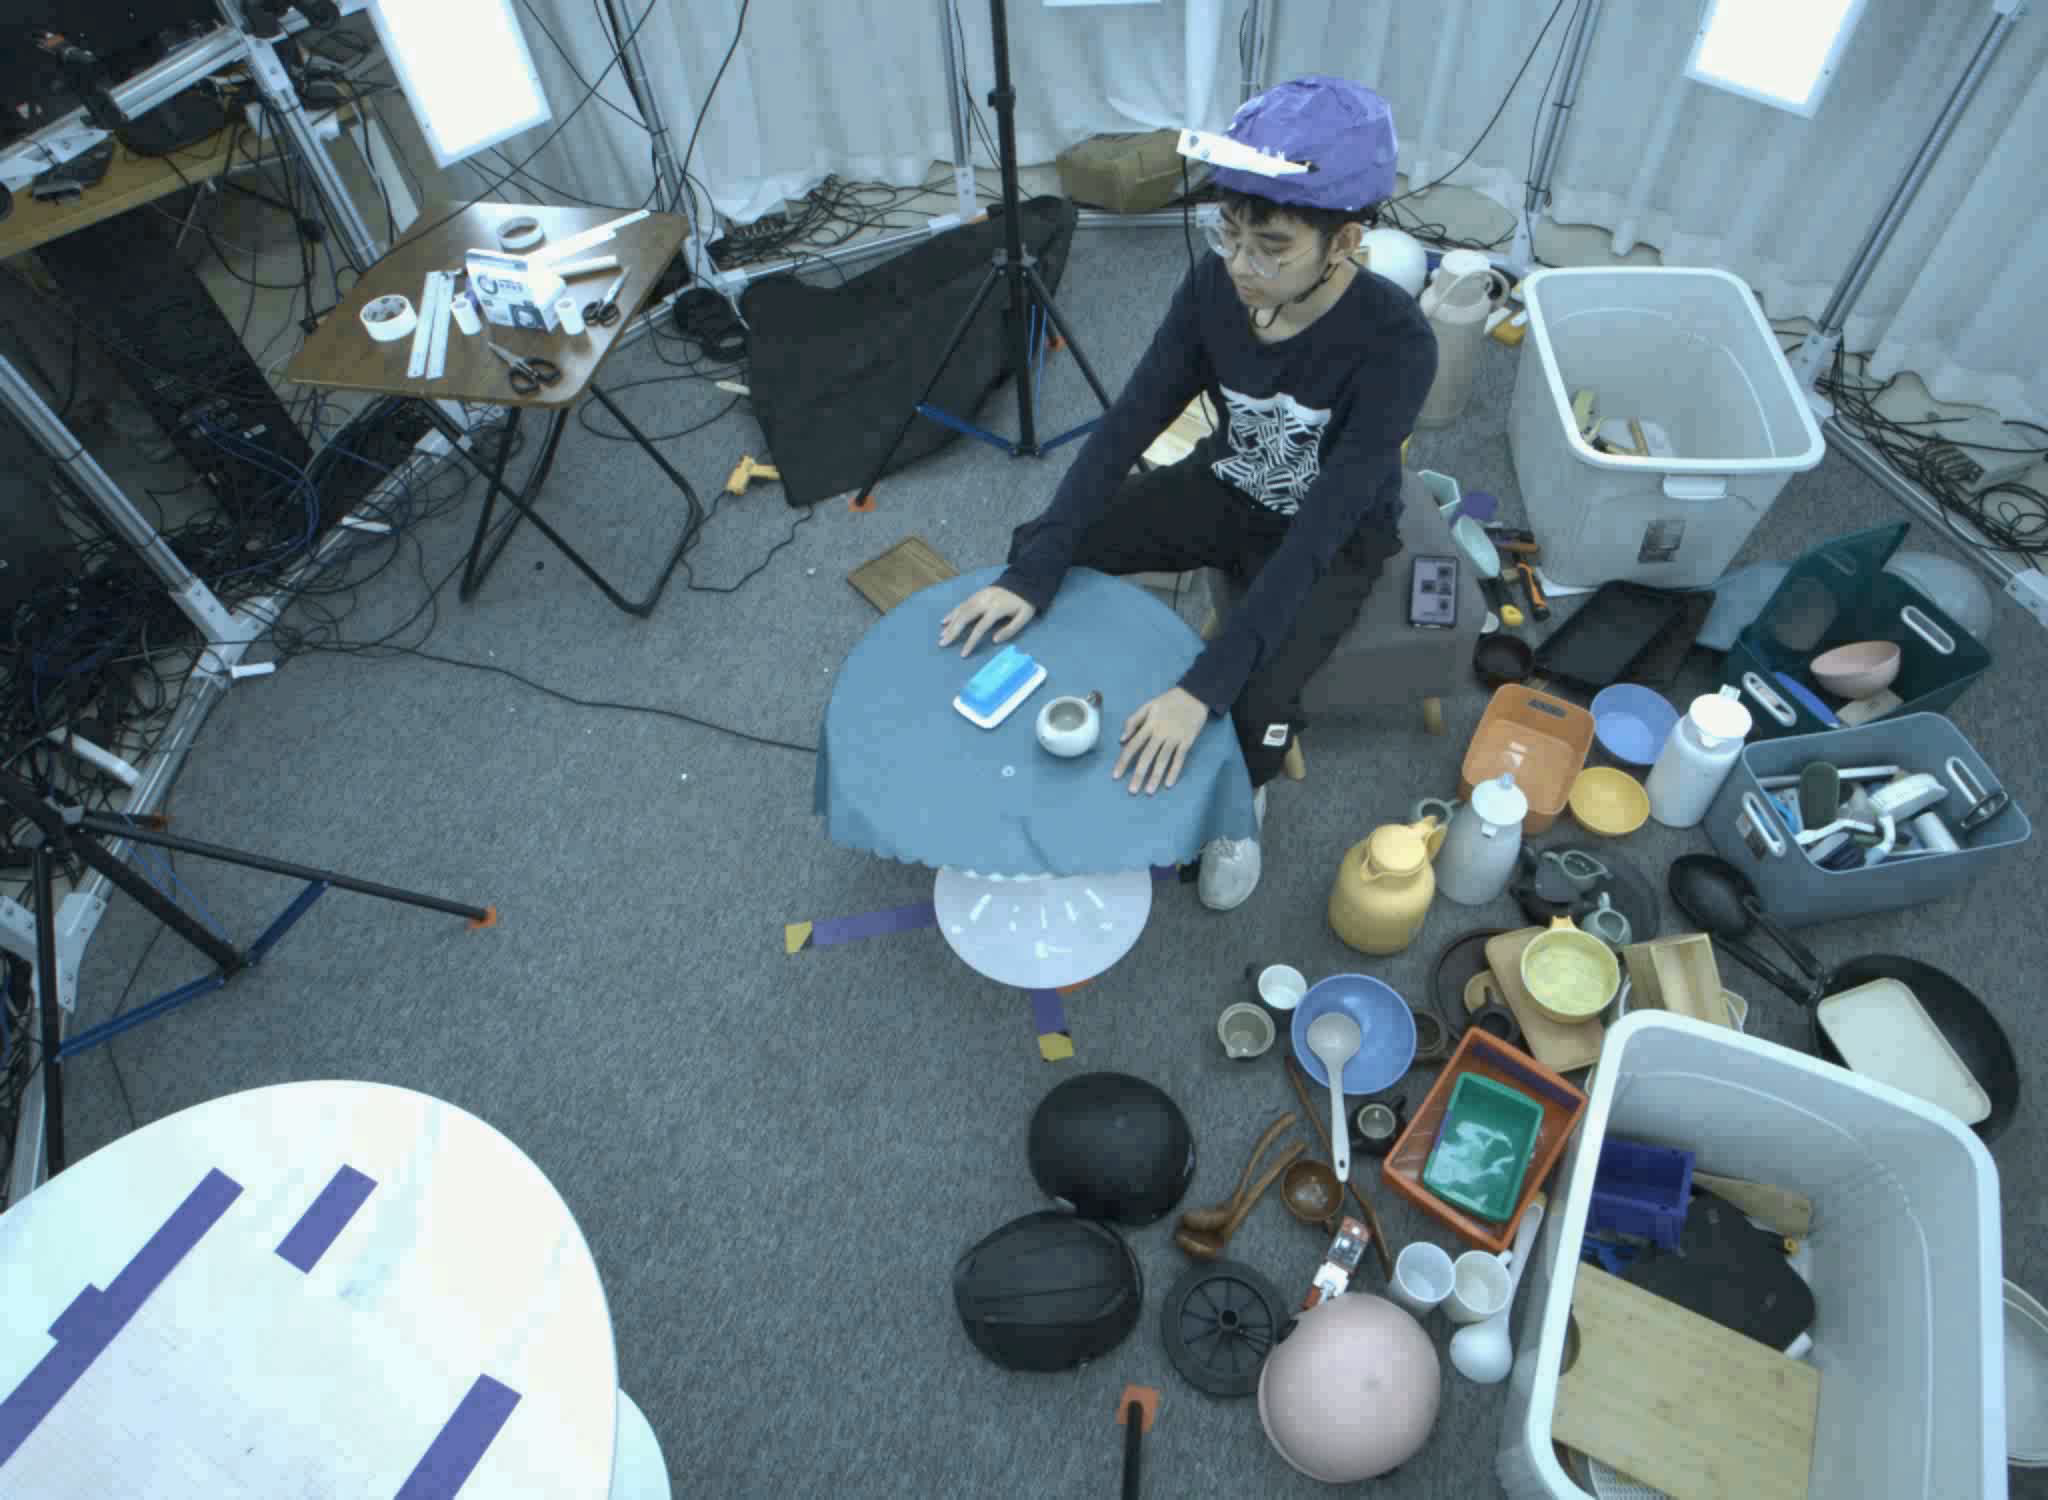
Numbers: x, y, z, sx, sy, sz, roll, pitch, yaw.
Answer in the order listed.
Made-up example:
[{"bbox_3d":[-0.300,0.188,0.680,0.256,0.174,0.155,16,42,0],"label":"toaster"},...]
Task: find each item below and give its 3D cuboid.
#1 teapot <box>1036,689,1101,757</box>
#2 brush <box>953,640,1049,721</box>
[{"bbox_3d":[0.069,-0.040,1.769,0.090,0.060,0.129,31,63,26],"label":"teapot"},{"bbox_3d":[-0.034,-0.111,1.823,0.082,0.056,0.145,37,66,22],"label":"brush"}]
